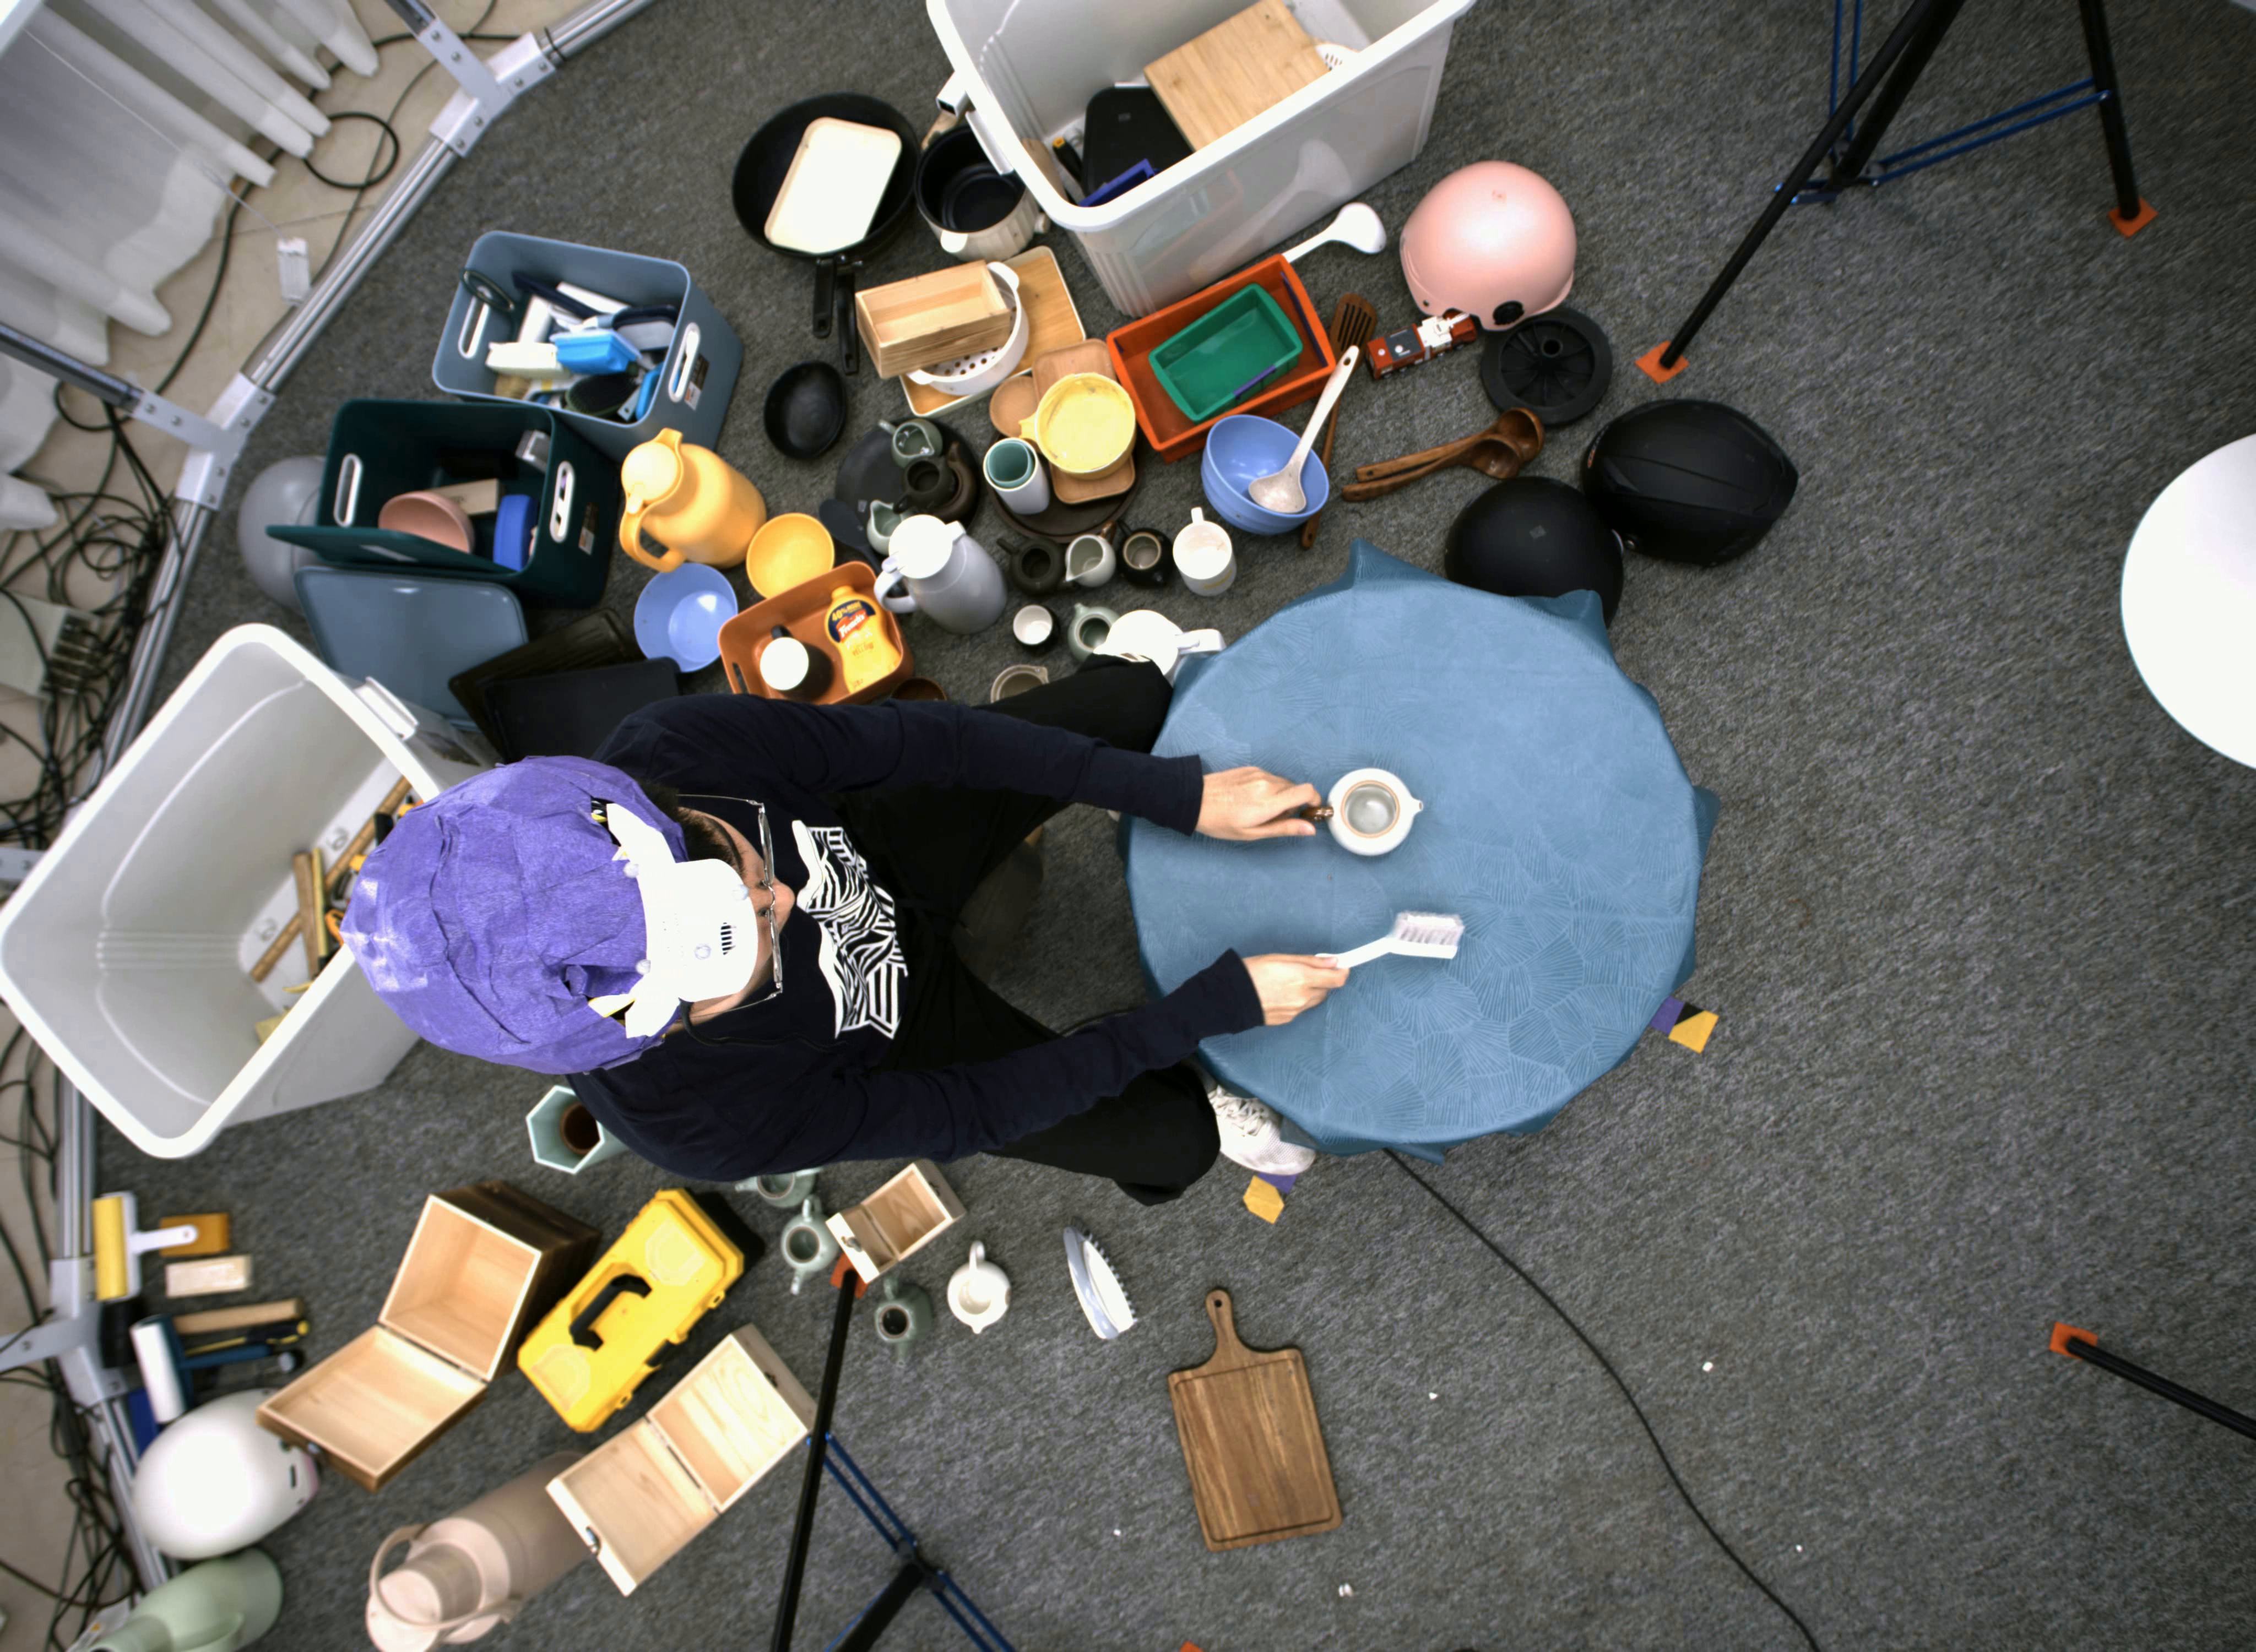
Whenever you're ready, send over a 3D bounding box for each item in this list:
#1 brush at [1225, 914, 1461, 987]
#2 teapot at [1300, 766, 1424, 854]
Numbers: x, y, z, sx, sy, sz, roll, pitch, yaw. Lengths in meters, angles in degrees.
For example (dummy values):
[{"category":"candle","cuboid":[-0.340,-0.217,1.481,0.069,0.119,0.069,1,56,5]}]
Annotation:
[{"category":"brush","cuboid":[0.216,0.125,1.411,0.244,0.033,0.051,-9,120,7]},{"category":"teapot","cuboid":[0.243,-0.017,1.440,0.128,0.059,0.091,-5,89,9]}]
